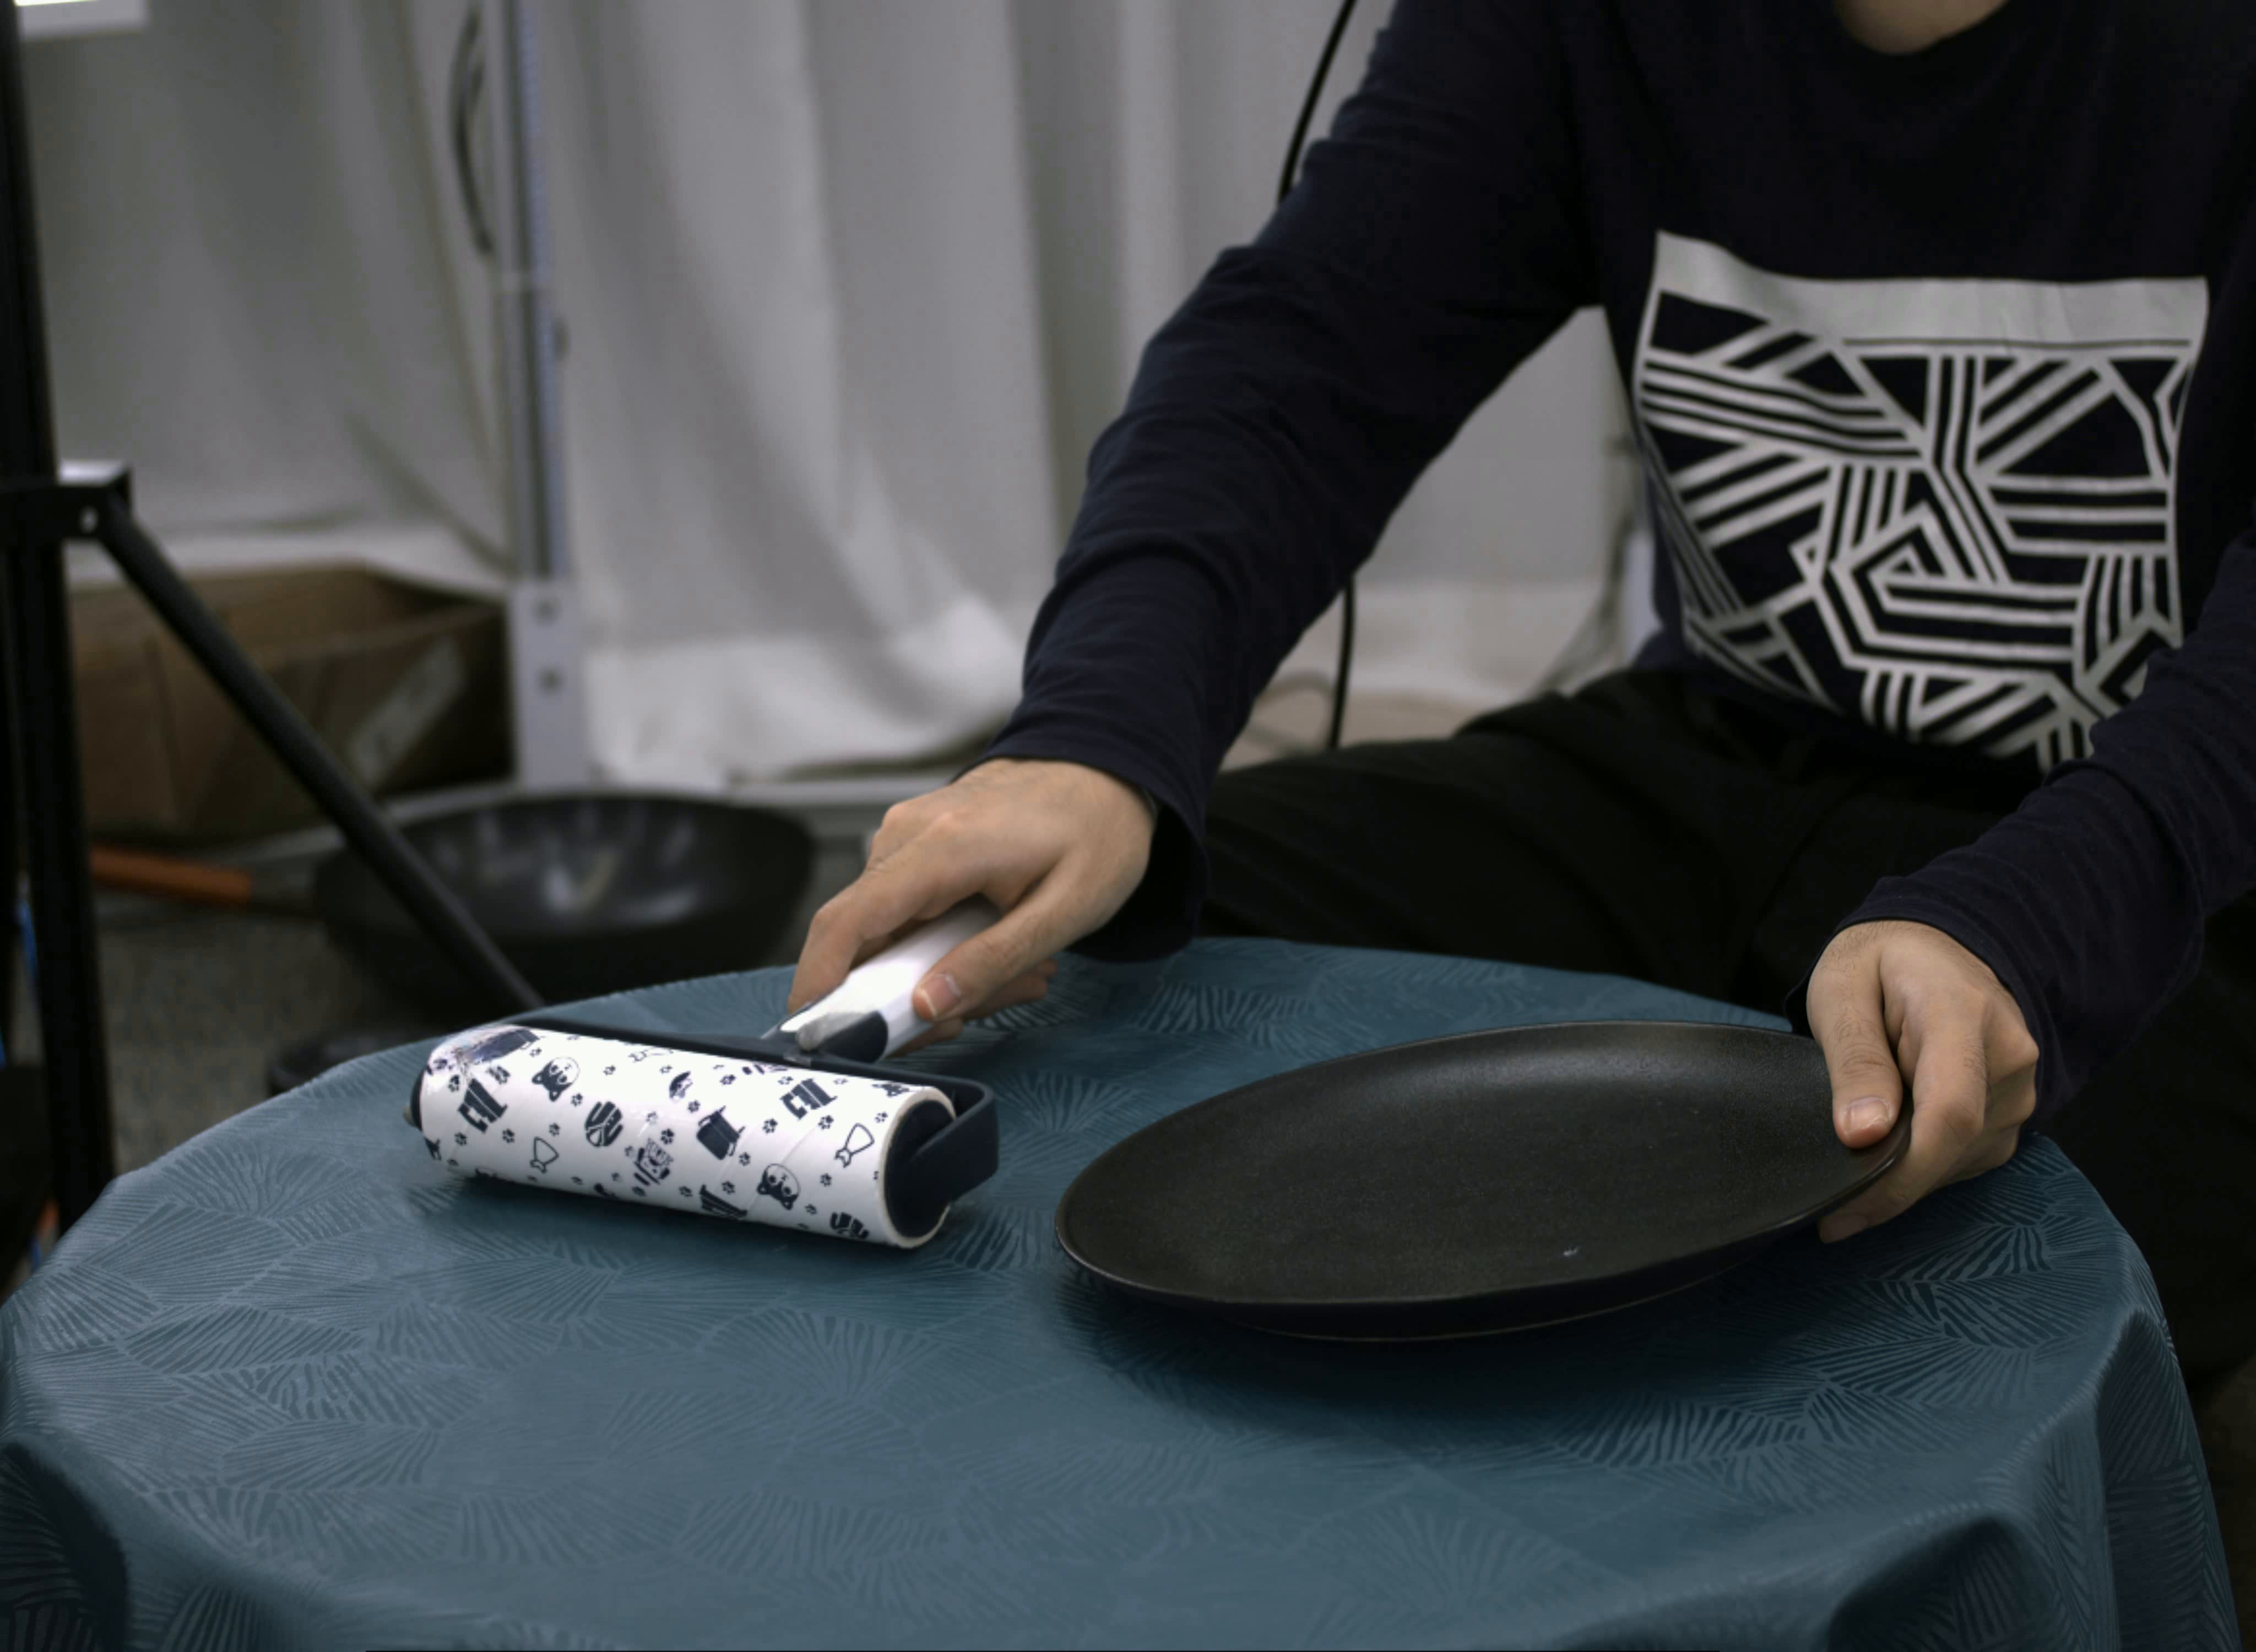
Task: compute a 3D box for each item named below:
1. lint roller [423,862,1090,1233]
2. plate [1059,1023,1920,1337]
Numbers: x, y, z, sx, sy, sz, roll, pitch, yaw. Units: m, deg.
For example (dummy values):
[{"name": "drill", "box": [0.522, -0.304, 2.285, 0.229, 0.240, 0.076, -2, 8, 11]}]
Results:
[{"name": "lint roller", "box": [-0.080, 0.053, 1.641, 0.179, 0.050, 0.243, 7, 23, 29]}, {"name": "plate", "box": [0.102, 0.102, 1.487, 0.243, 0.023, 0.245, -9, 13, 1]}]
